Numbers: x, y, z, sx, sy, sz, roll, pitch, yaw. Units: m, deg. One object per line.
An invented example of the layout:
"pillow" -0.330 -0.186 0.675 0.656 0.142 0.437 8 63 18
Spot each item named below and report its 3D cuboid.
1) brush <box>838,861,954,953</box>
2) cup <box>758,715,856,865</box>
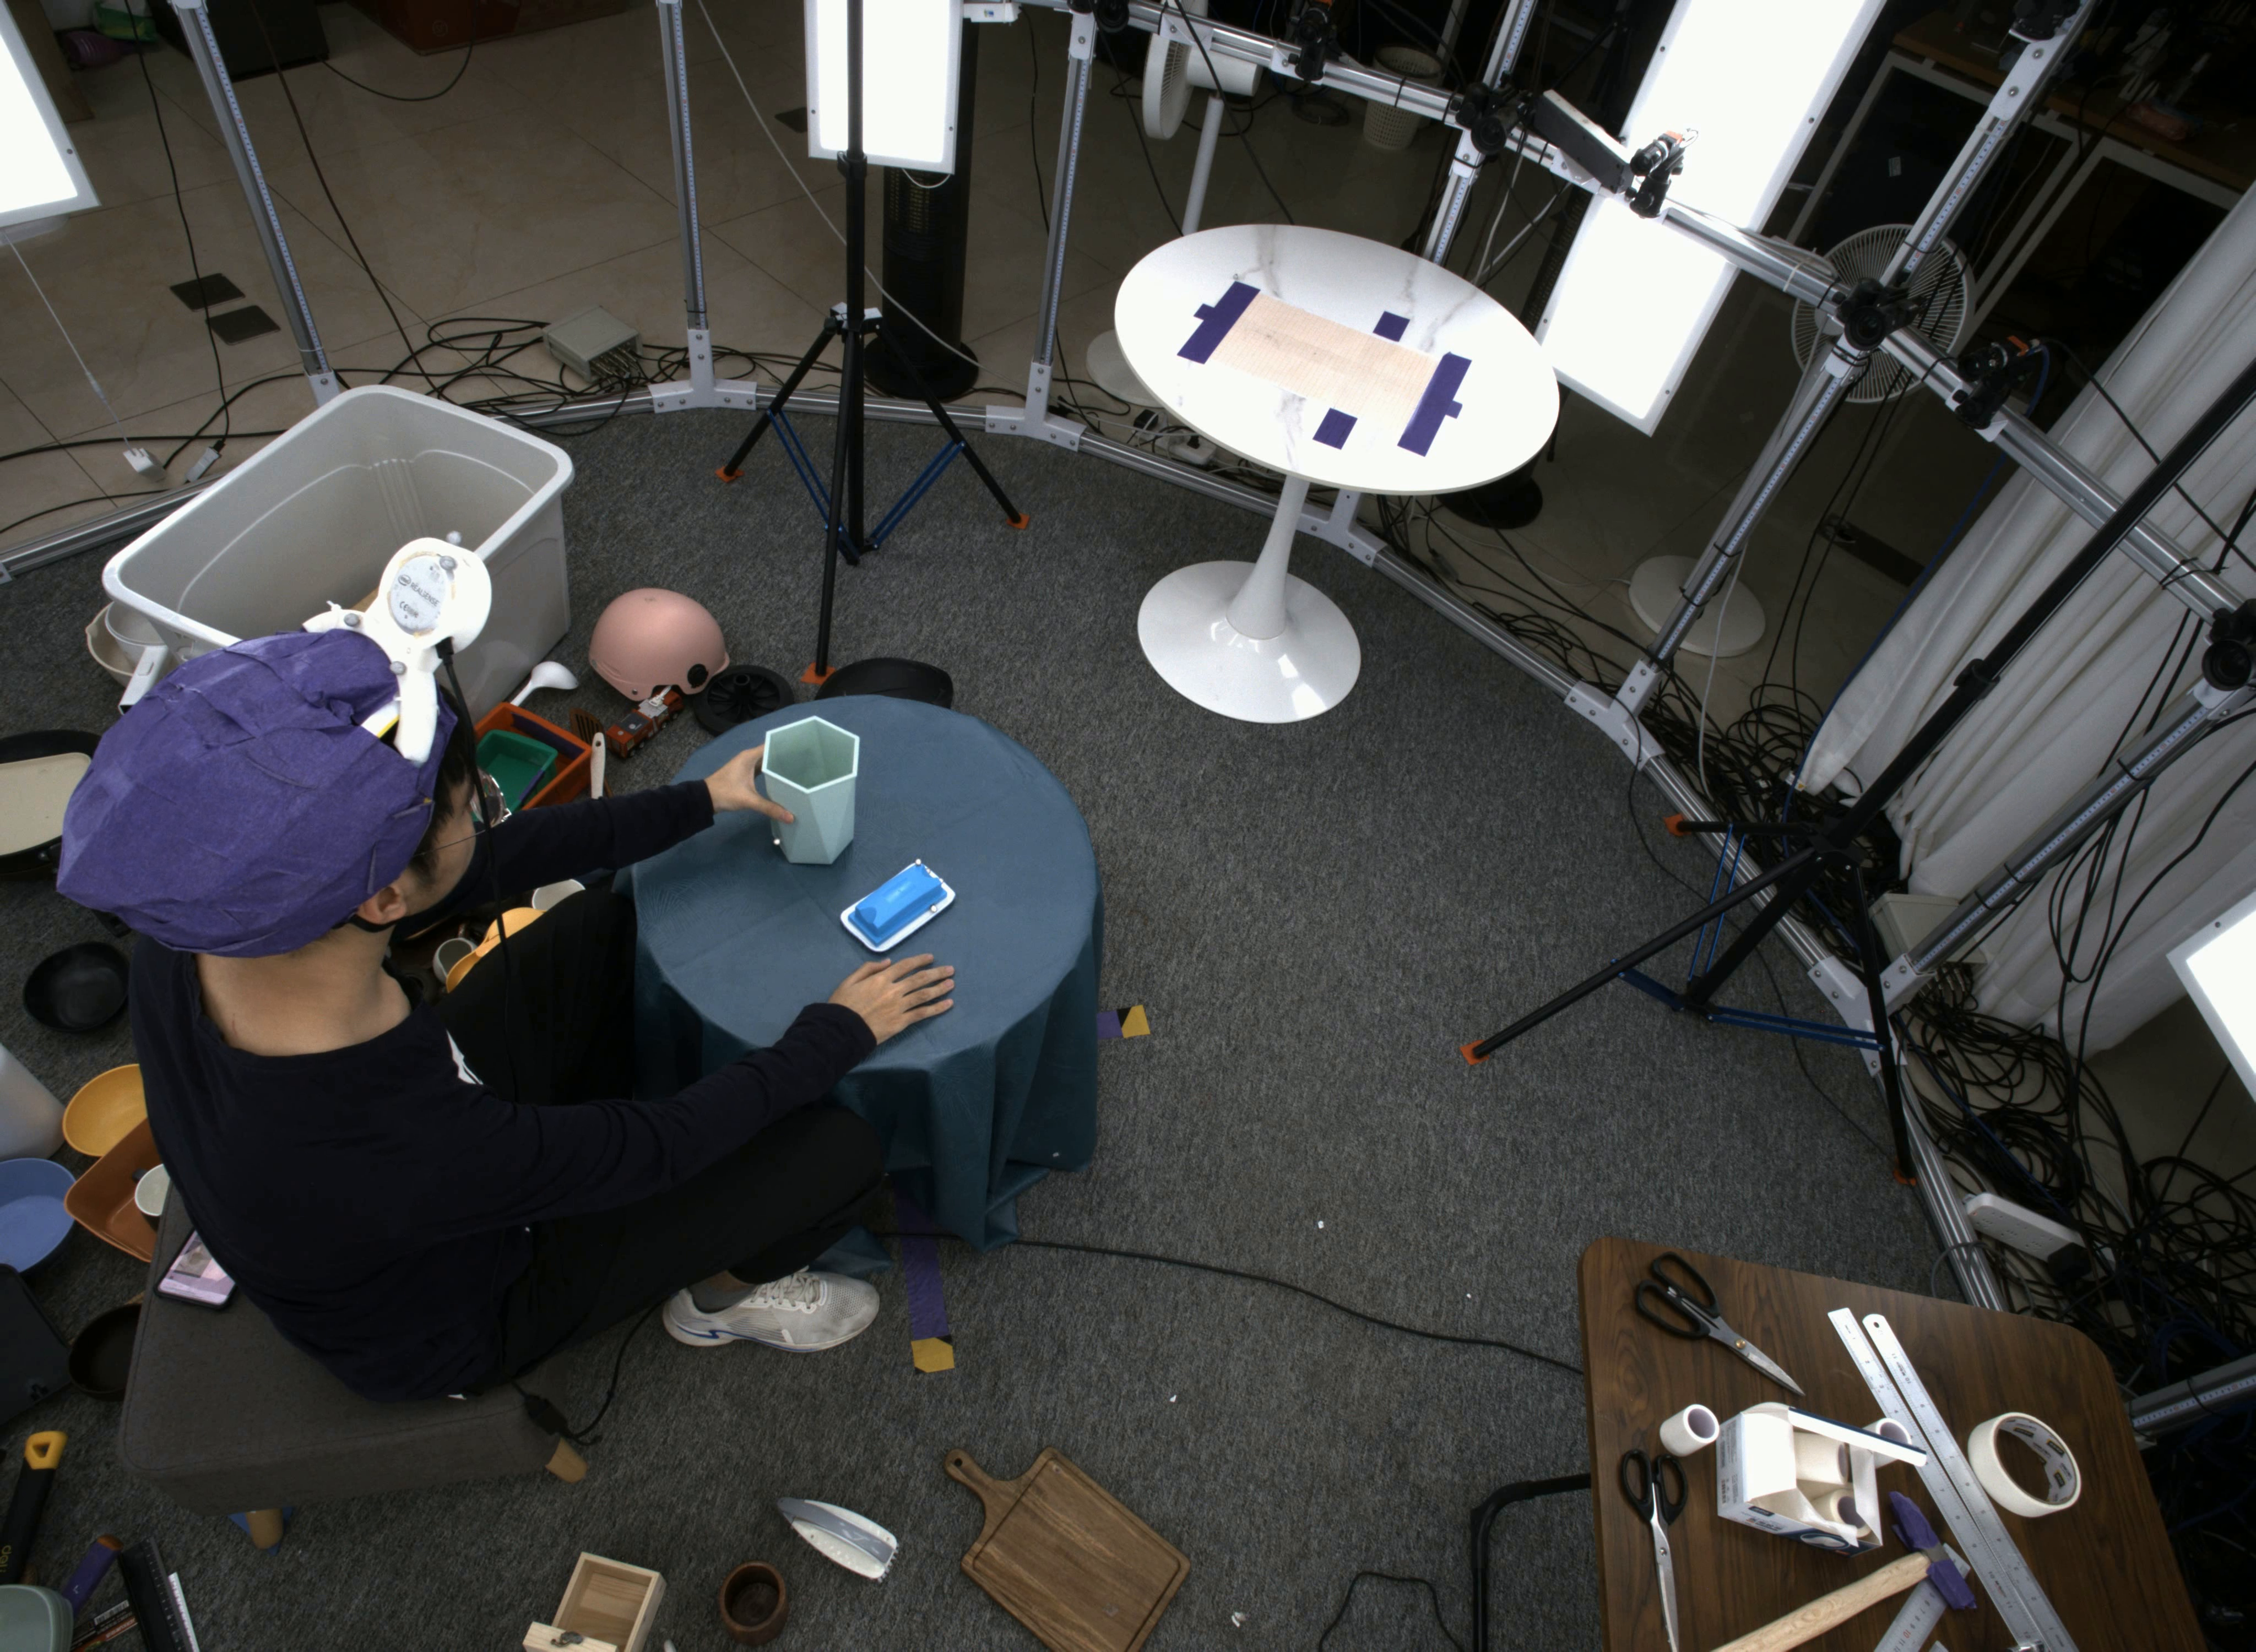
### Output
"brush" -0.294 0.094 1.649 0.082 0.057 0.144 40 52 21
"cup" -0.403 -0.039 1.653 0.129 0.166 0.114 24 52 8
